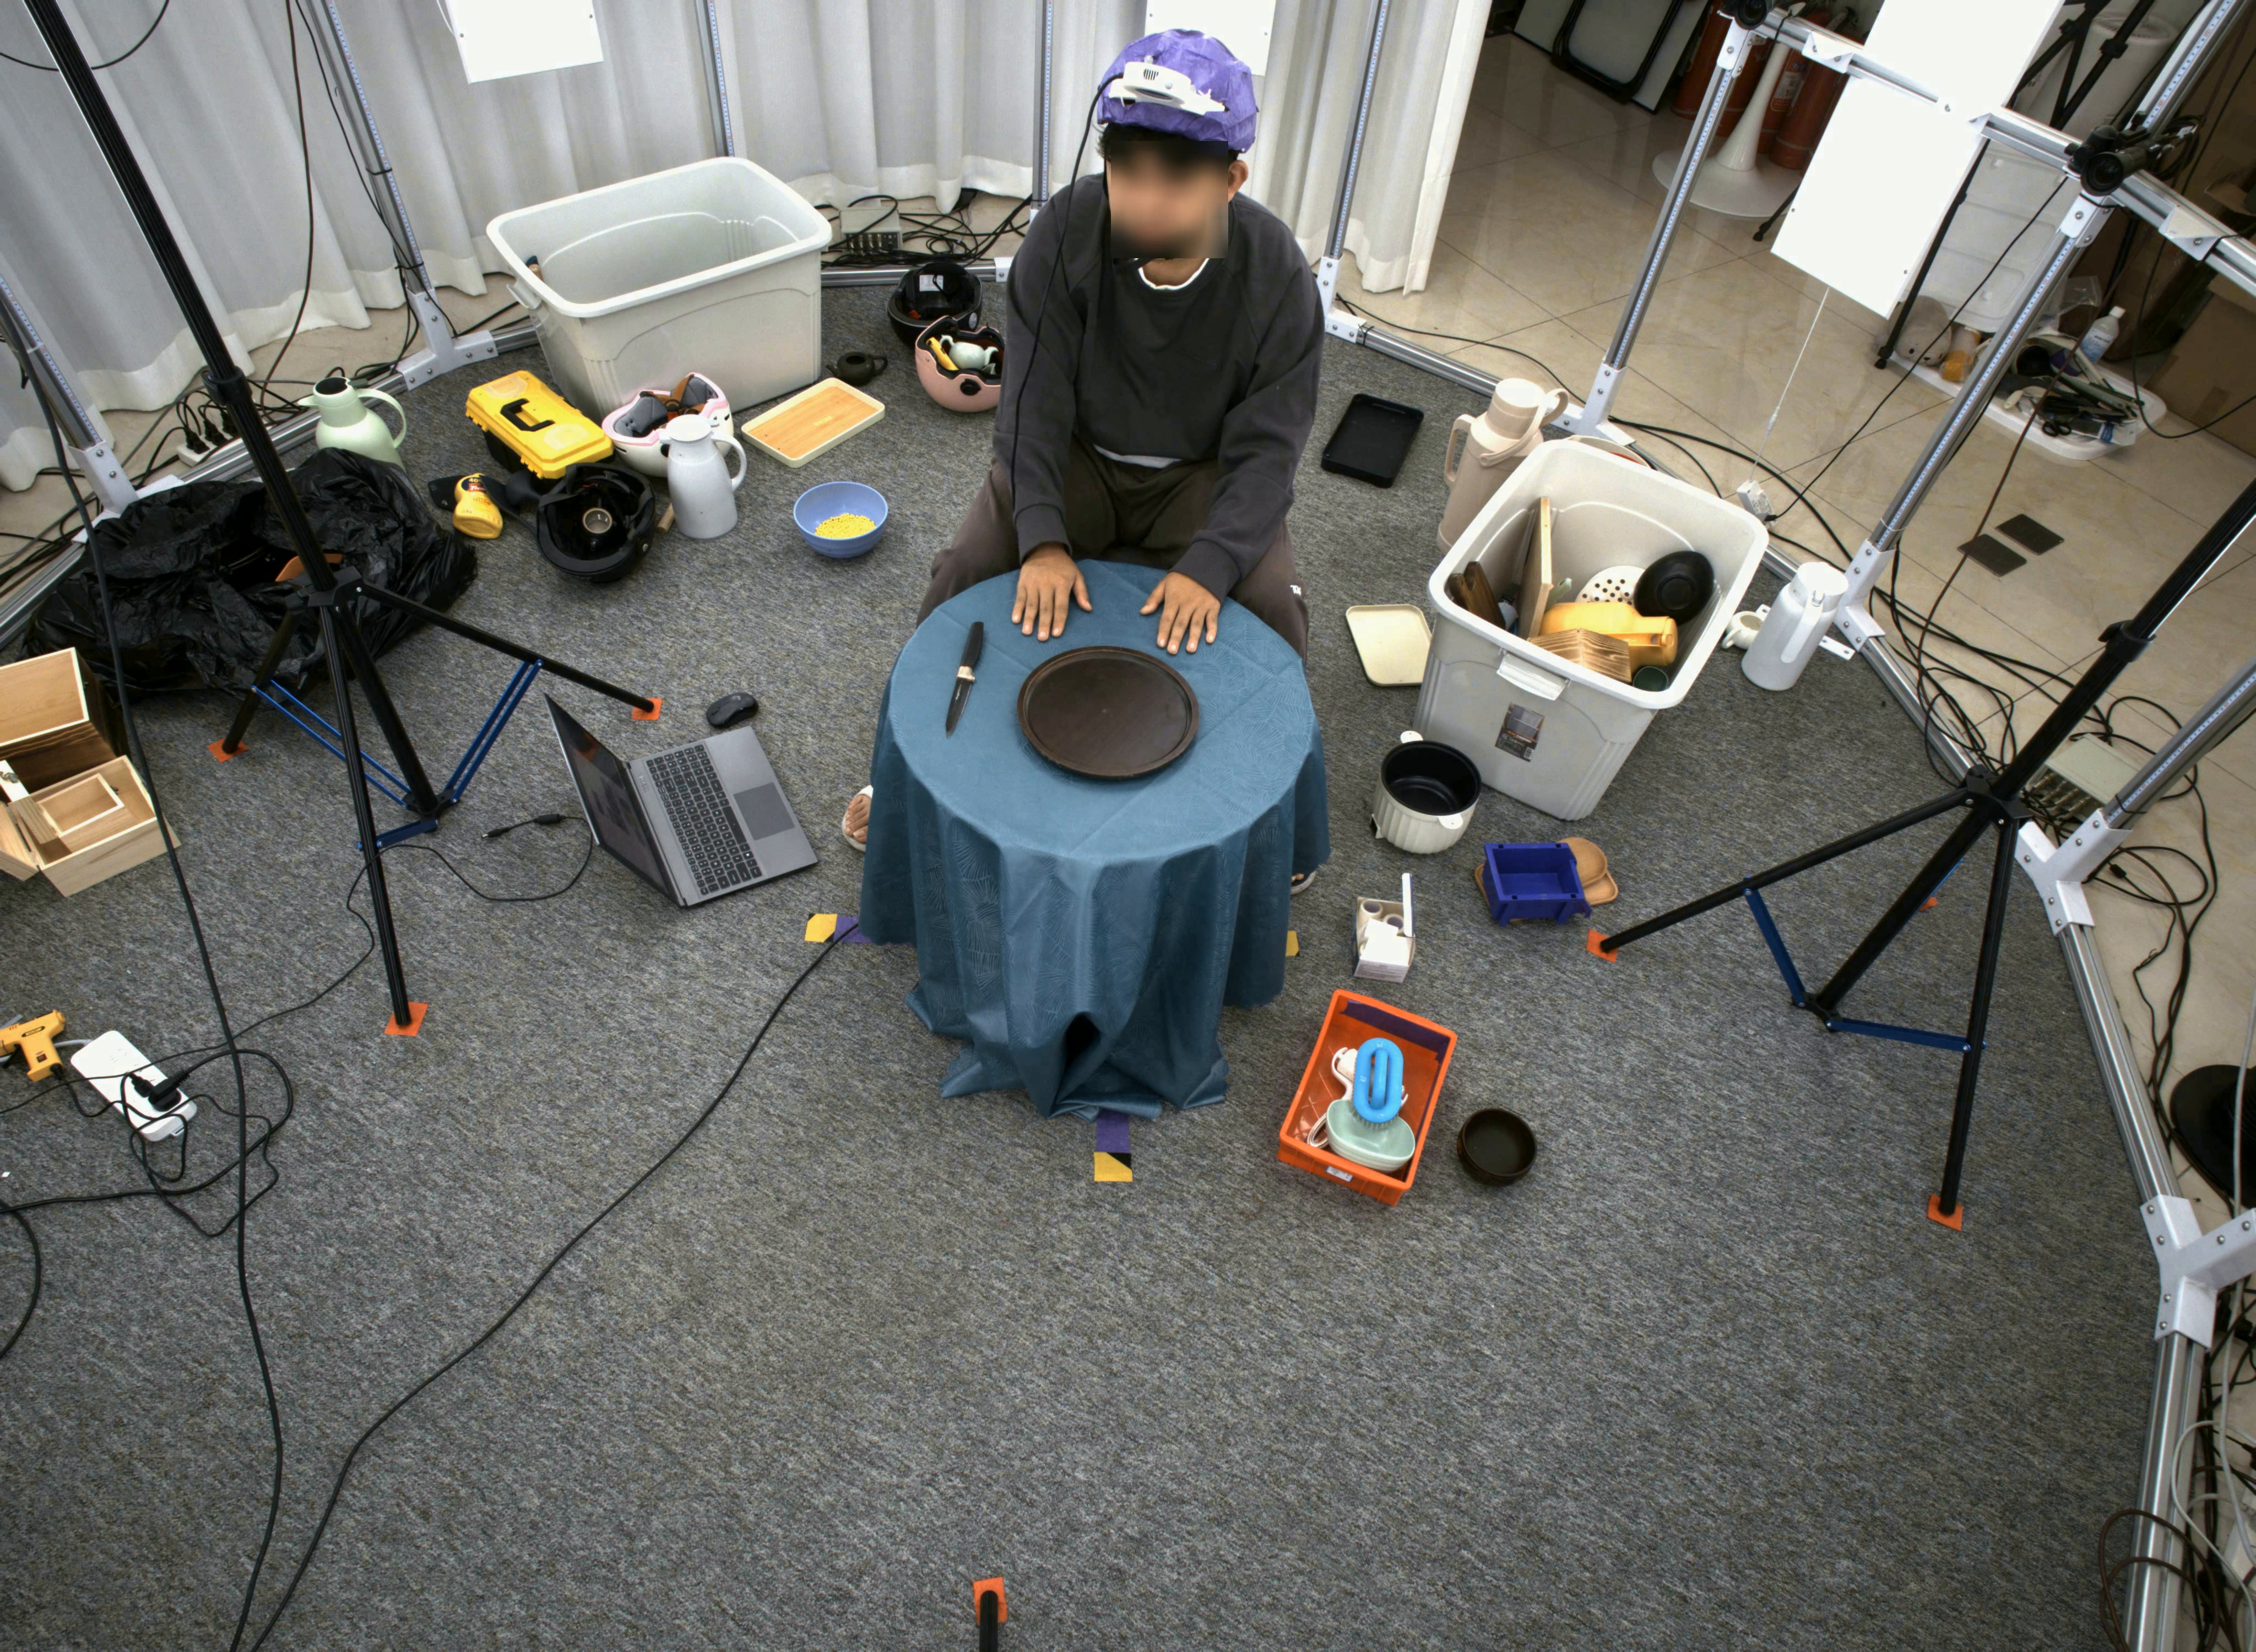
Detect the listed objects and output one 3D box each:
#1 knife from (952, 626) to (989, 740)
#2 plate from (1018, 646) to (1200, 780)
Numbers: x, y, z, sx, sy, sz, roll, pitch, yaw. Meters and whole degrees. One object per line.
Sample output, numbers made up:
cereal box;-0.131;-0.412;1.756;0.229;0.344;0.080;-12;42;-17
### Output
knife;-0.226;-0.205;1.819;0.026;0.017;0.231;11;50;-2
plate;-0.027;-0.159;1.787;0.254;0.028;0.261;1;48;-2
